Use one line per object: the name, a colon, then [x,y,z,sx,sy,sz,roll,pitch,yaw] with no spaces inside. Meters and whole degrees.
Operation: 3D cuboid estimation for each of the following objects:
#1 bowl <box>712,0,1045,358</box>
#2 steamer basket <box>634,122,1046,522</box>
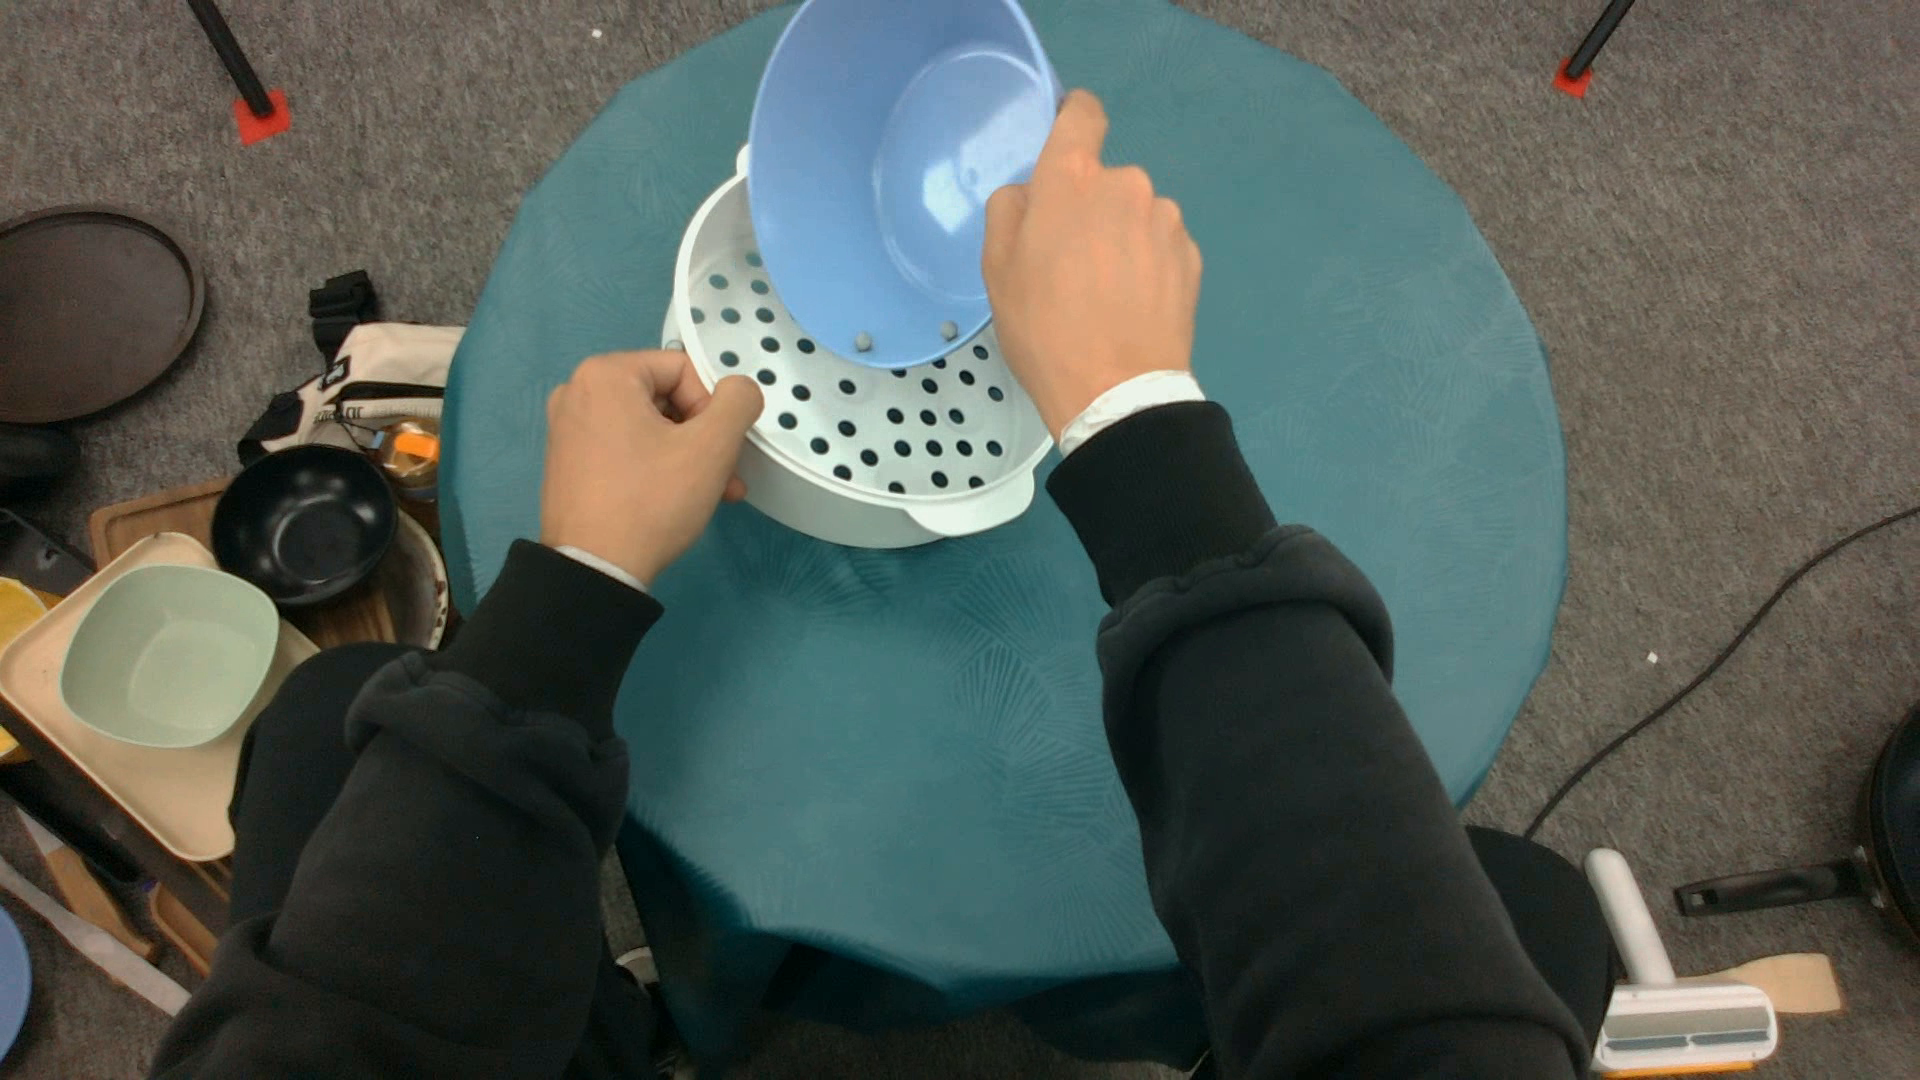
bowl: [-0.027,-0.172,0.624,0.070,0.175,0.176,-15,64,-53]
steamer basket: [-0.060,-0.105,0.684,0.202,0.069,0.231,-19,71,-32]
